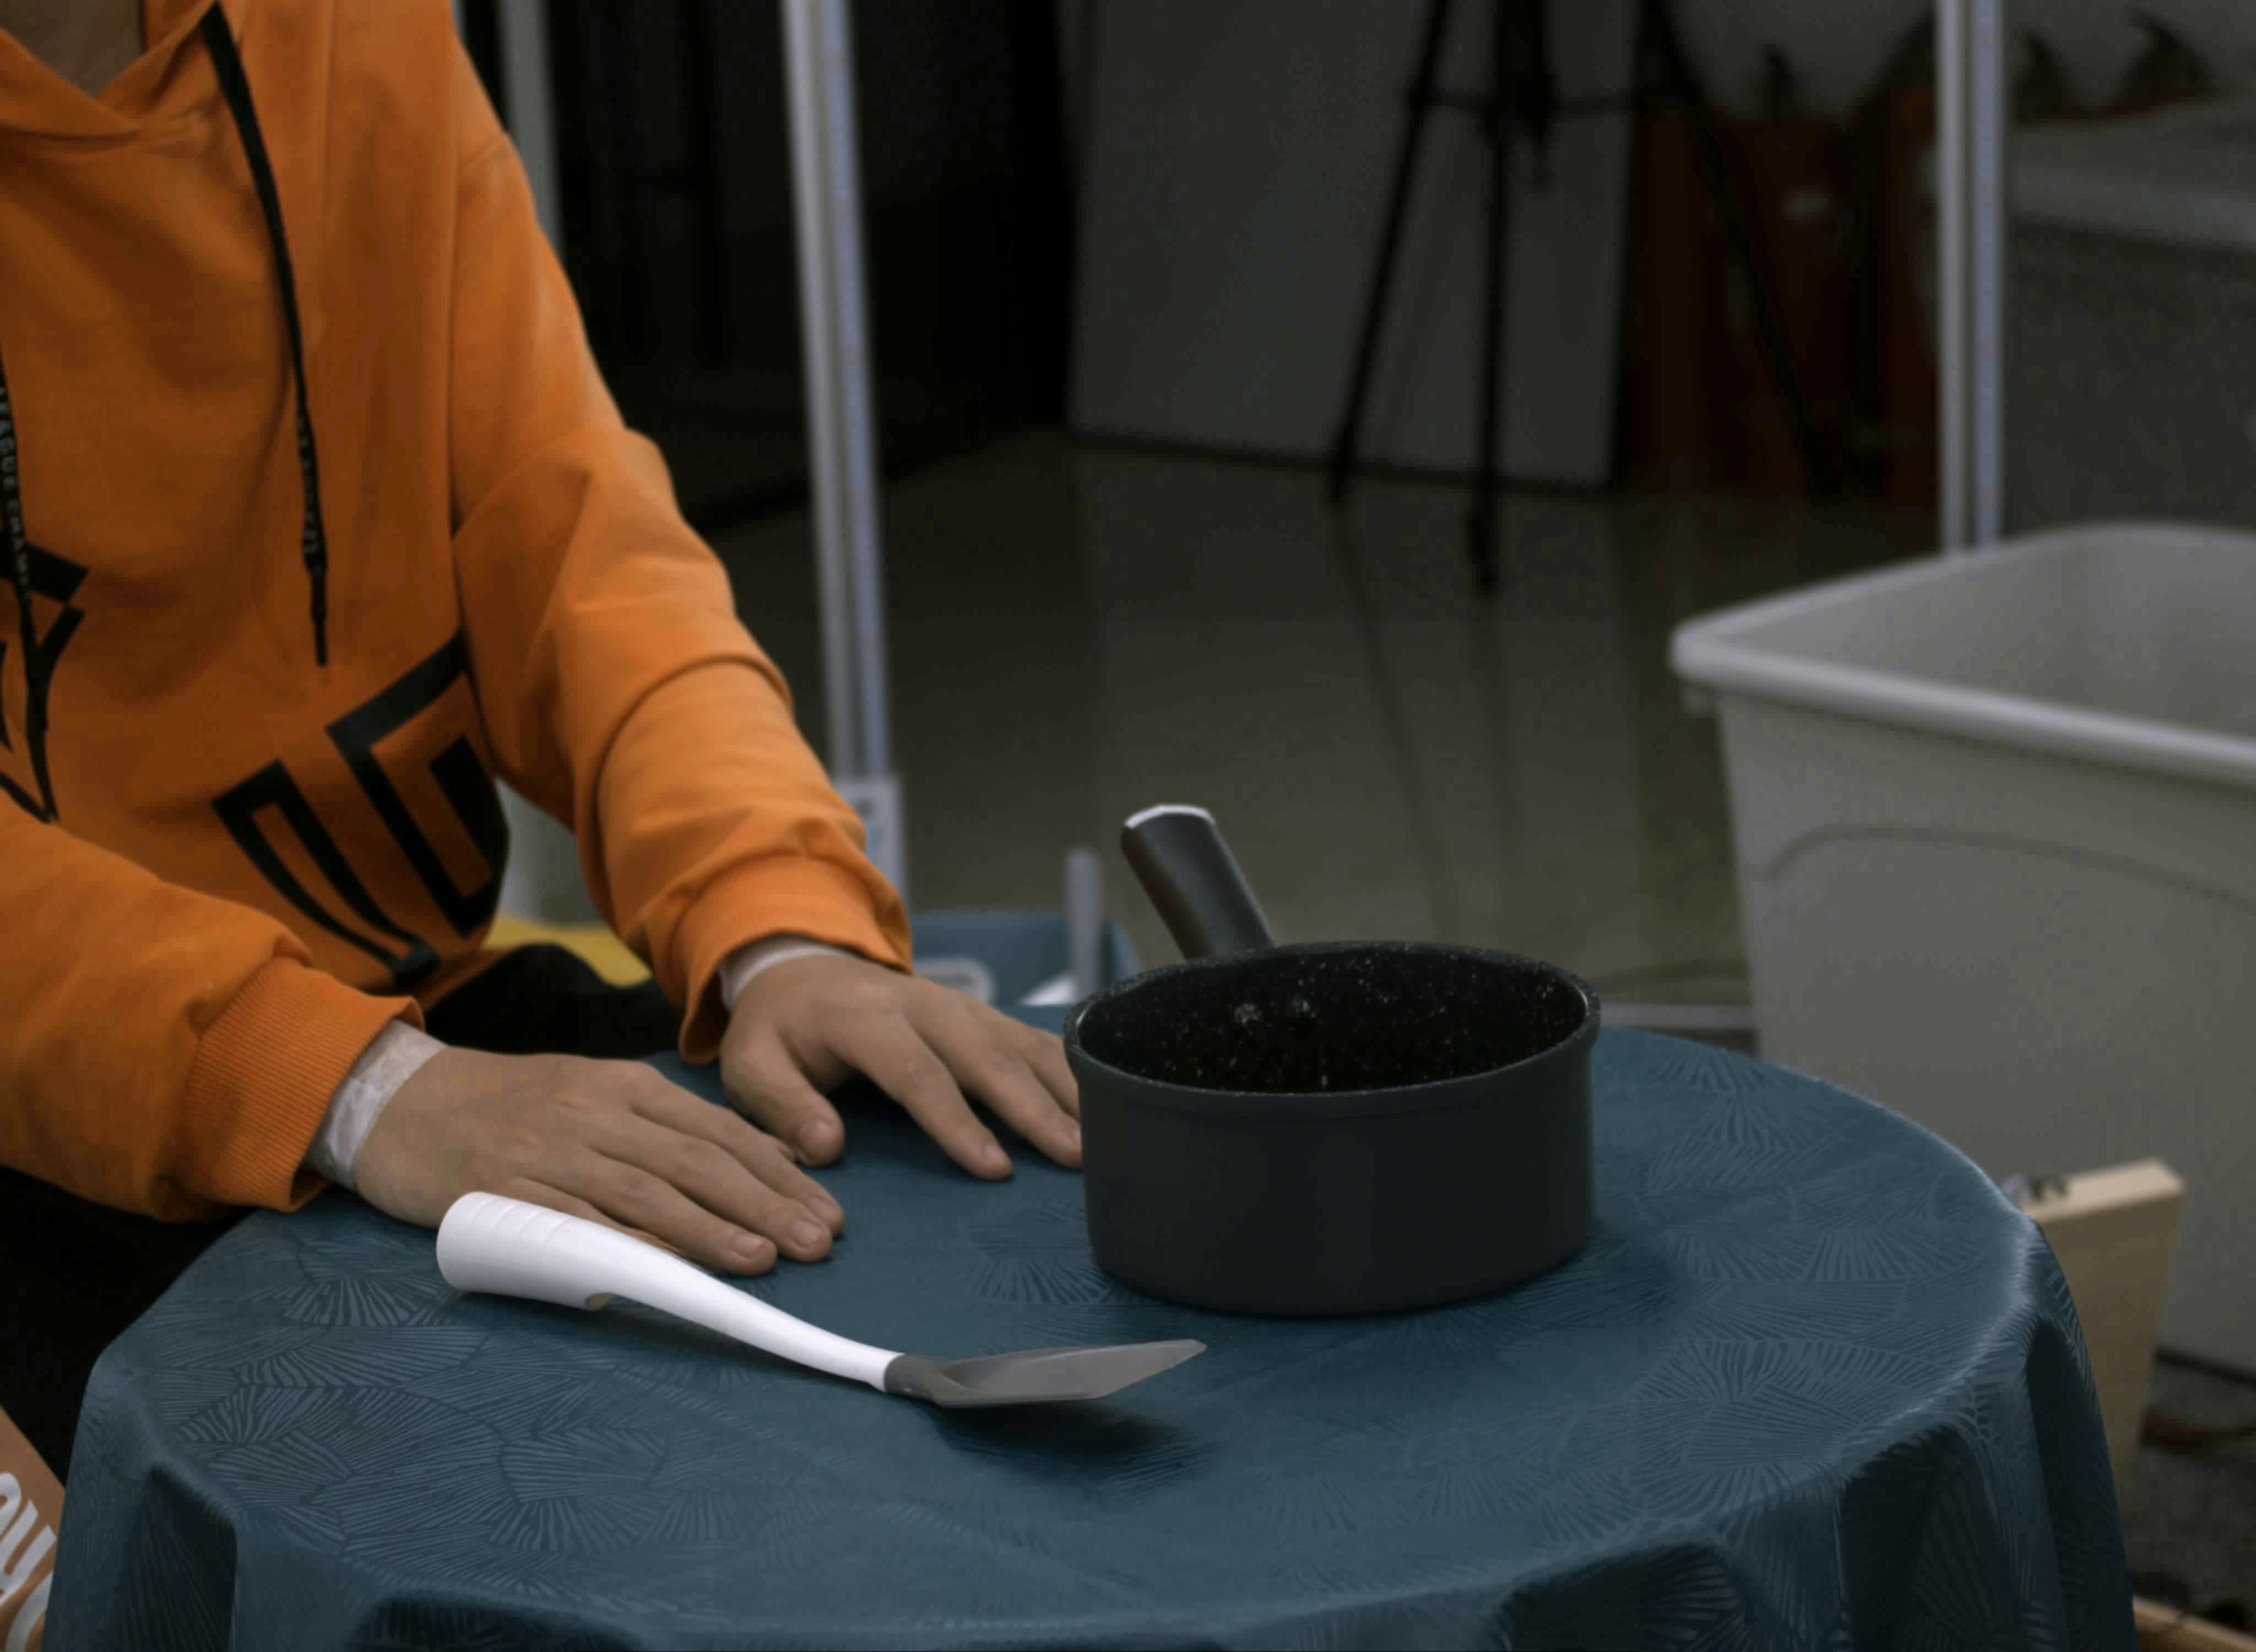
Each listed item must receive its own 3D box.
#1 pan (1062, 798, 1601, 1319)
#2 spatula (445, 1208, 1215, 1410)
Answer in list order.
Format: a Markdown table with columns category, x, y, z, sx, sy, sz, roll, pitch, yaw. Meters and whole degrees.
| category | x | y | z | sx | sy | sz | roll | pitch | yaw |
| --- | --- | --- | --- | --- | --- | --- | --- | --- | --- |
| pan | 0.052 | 0.073 | 1.774 | 0.169 | 0.087 | 0.330 | -5 | 15 | -8 |
| spatula | -0.095 | 0.149 | 1.619 | 0.290 | 0.032 | 0.057 | 7 | 13 | 40 |
